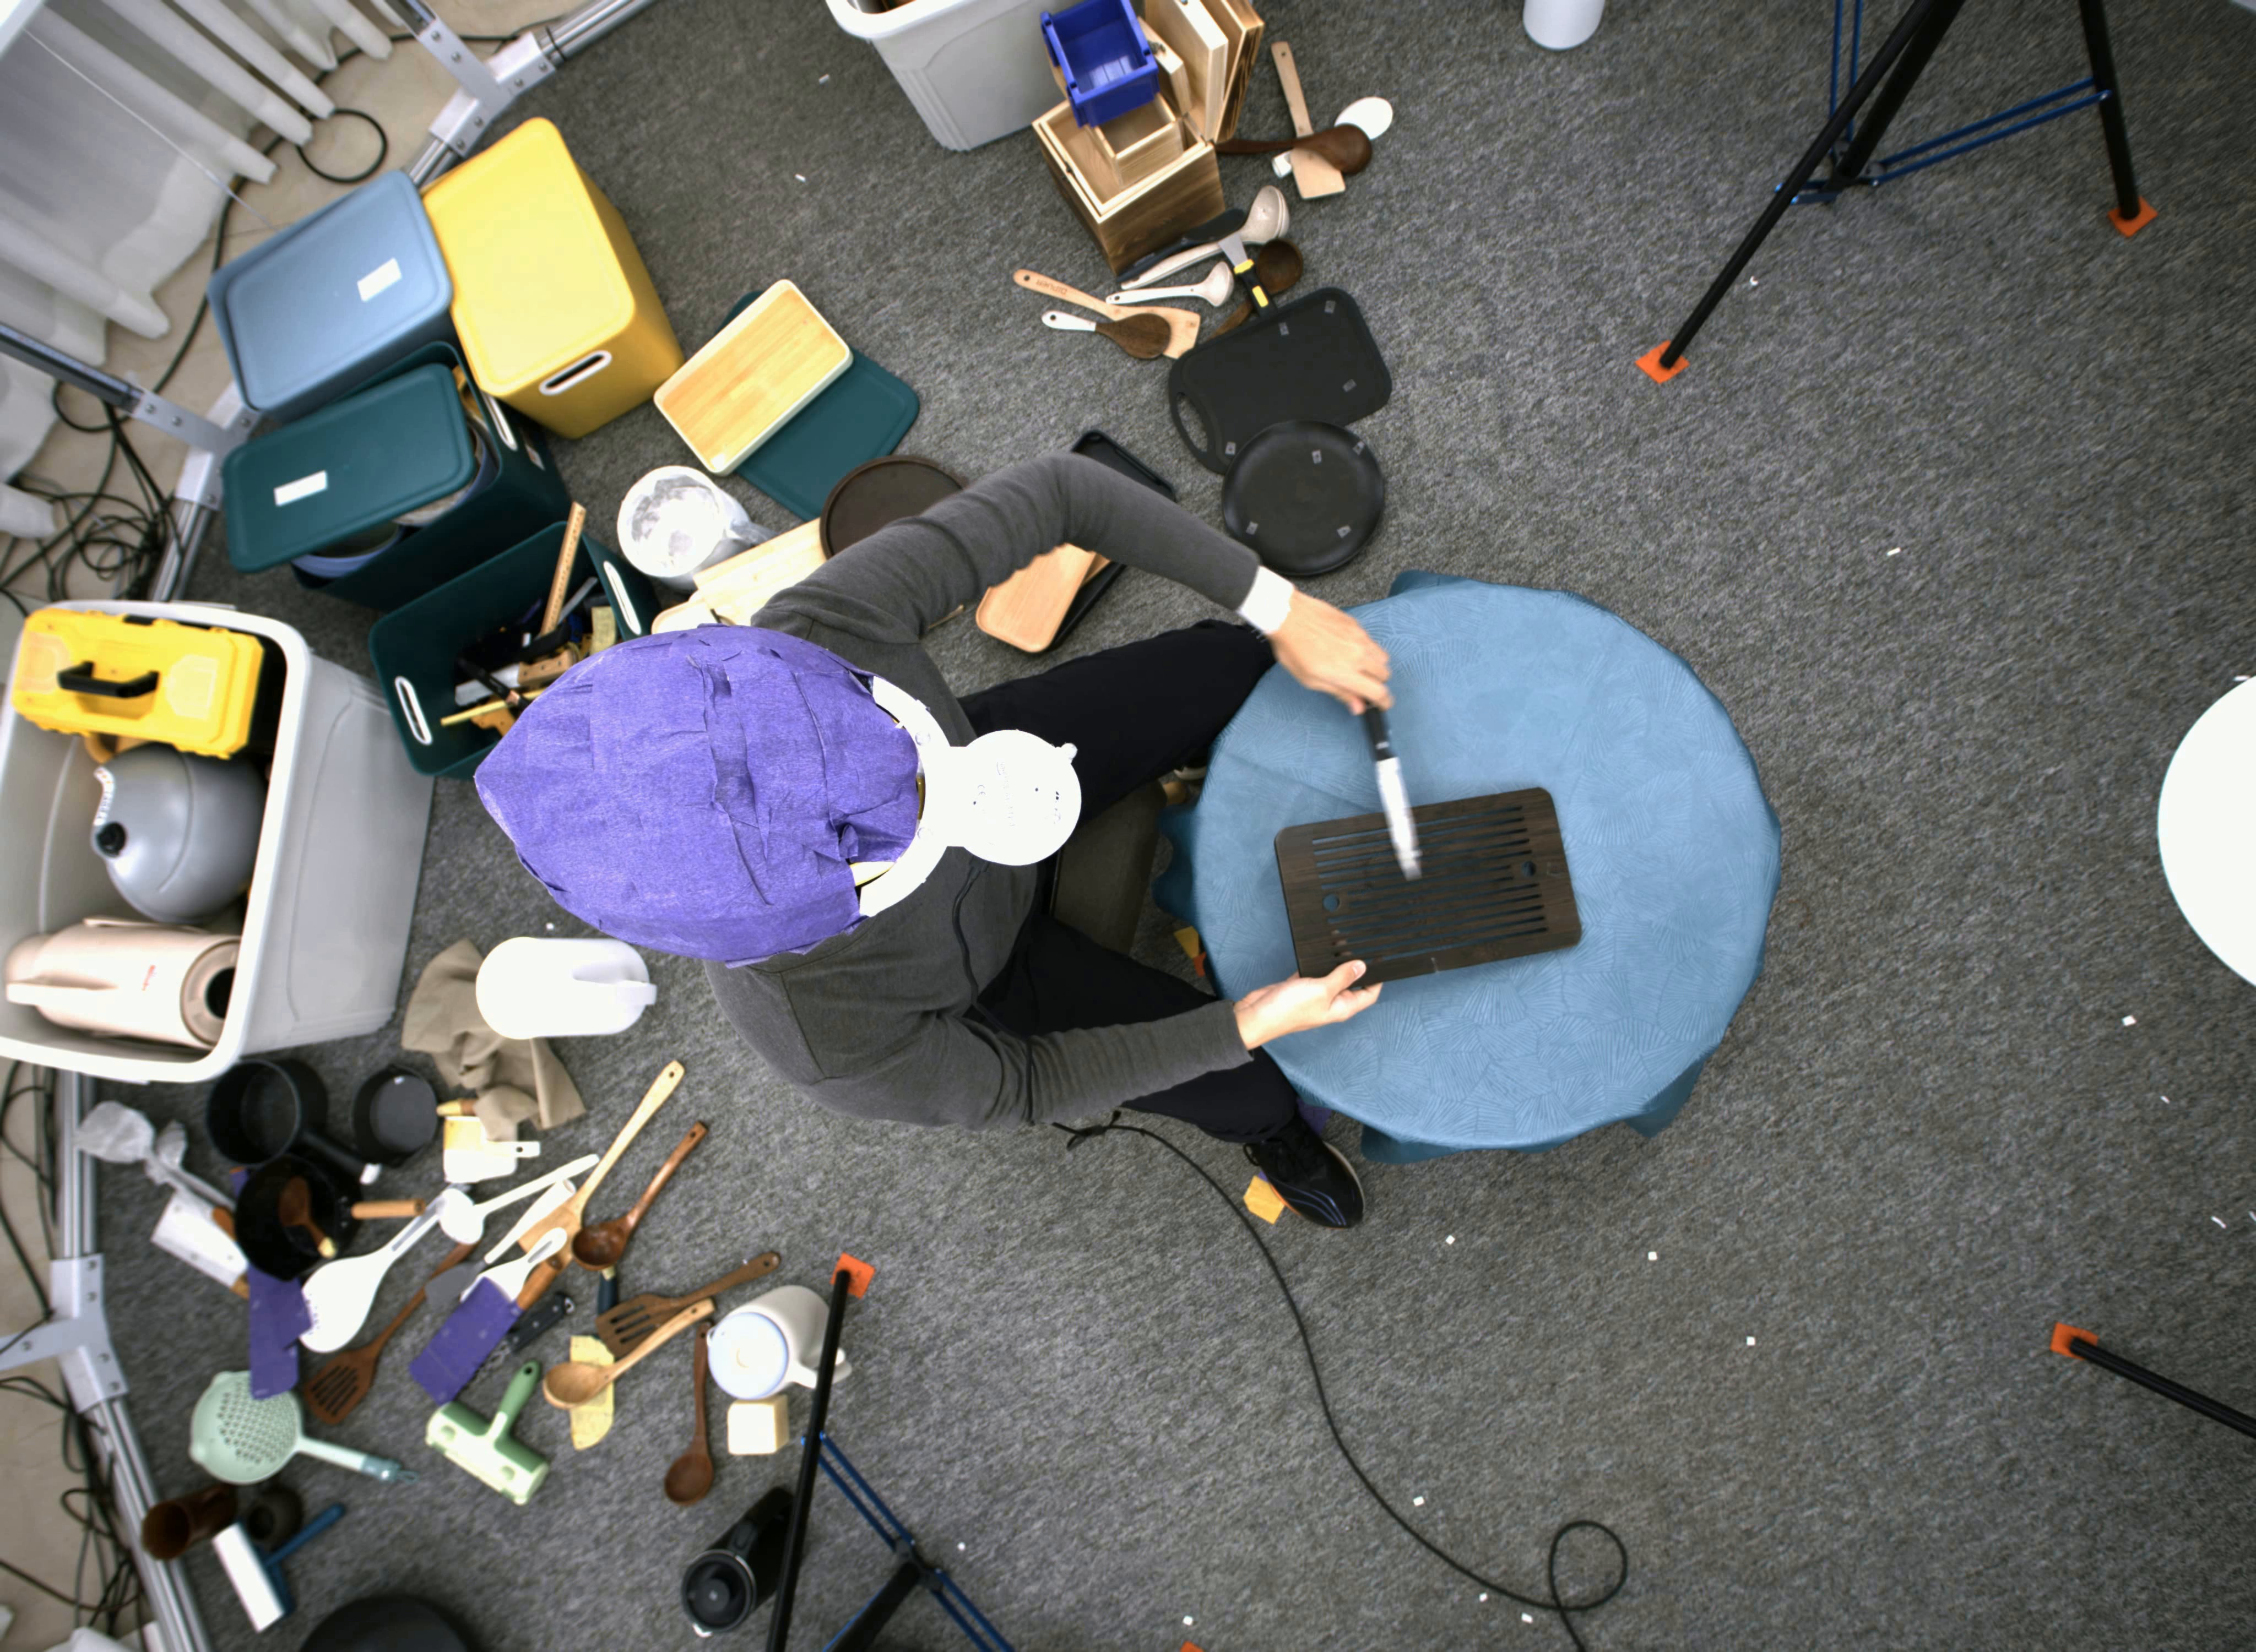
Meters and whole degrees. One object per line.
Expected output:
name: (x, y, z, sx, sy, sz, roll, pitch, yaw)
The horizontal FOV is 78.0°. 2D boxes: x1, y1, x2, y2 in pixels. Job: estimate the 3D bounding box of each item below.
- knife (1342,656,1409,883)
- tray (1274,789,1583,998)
knife: (0.252, -0.059, 1.395, 0.024, 0.016, 0.237, -12, 87, -22)
tray: (0.306, 0.065, 1.400, 0.305, 0.019, 0.169, -9, 84, -9)
